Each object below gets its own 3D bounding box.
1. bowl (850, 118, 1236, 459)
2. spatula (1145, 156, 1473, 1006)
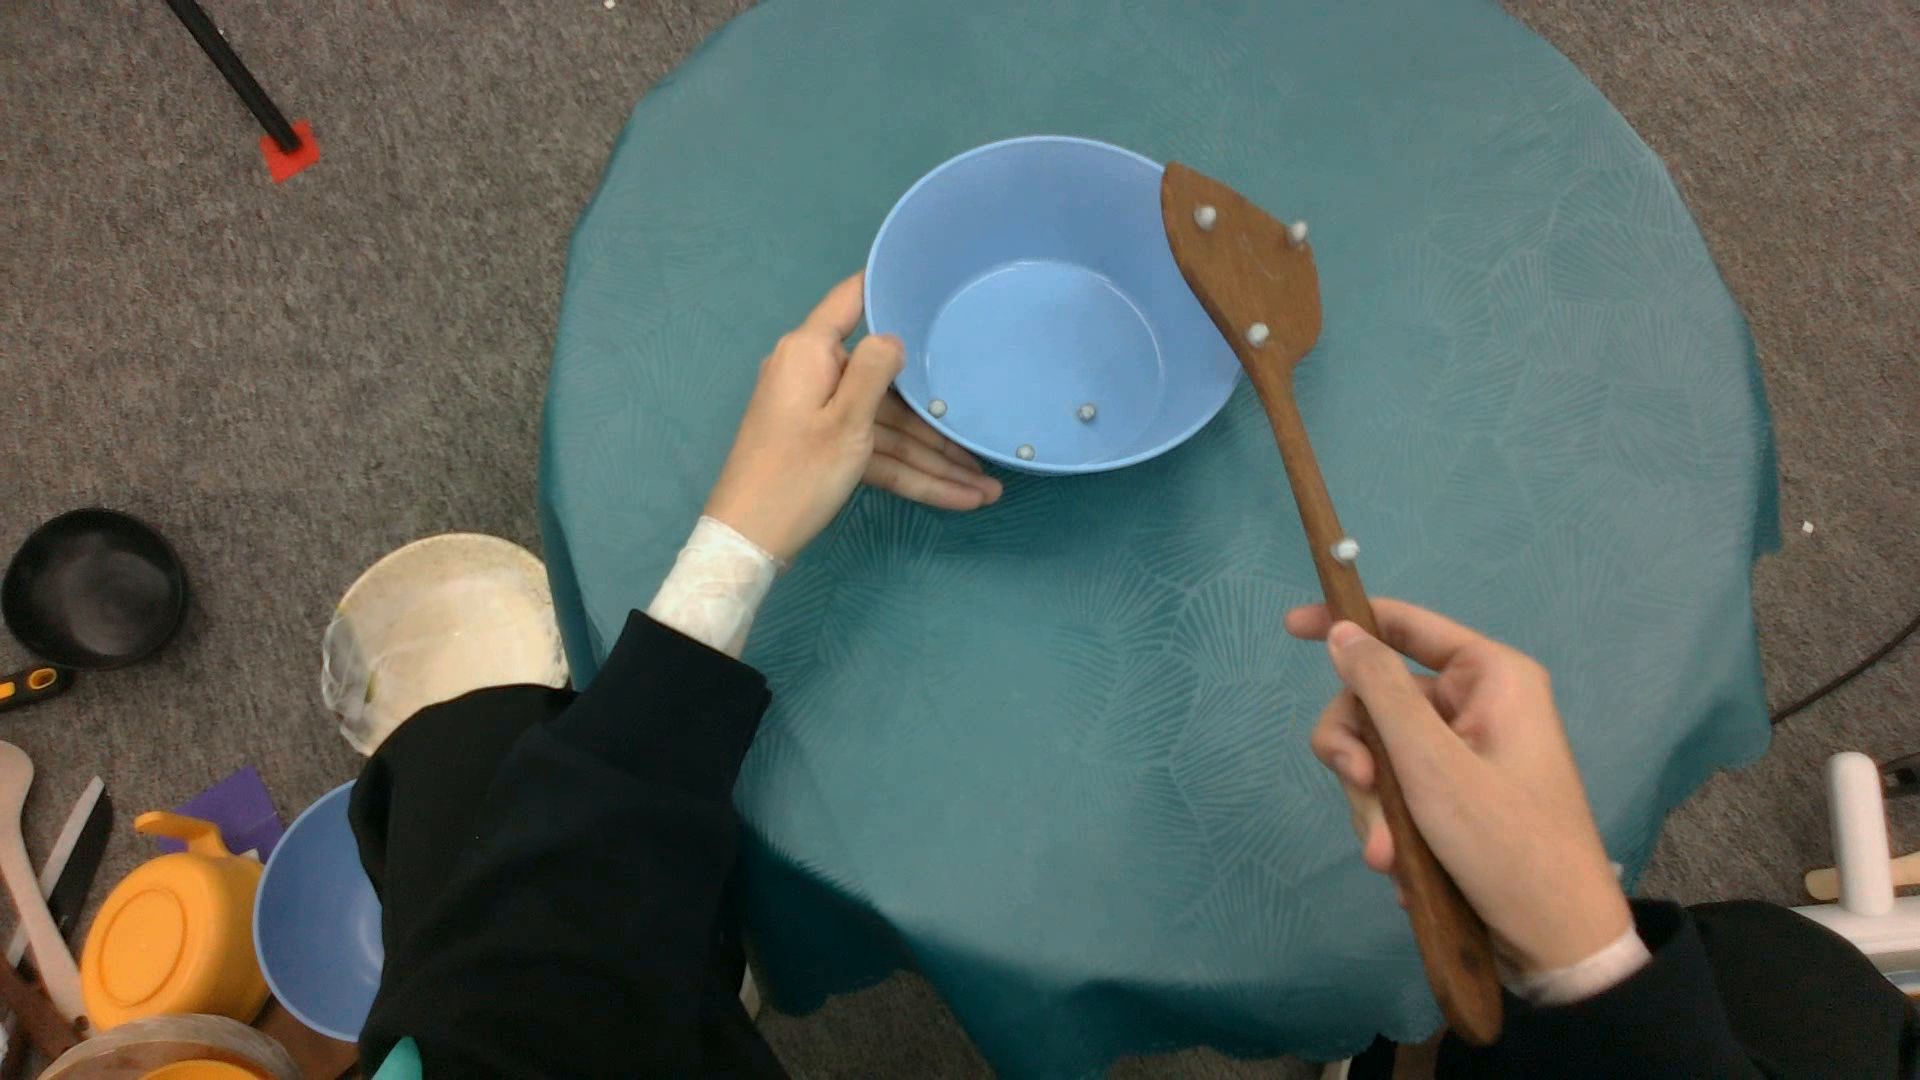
[{"bbox_3d":[0.037,-0.106,0.647,0.176,0.070,0.176,1,68,-3],"label":"bowl"},{"bbox_3d":[0.133,-0.014,0.530,0.096,0.016,0.387,21,45,-30],"label":"spatula"}]
